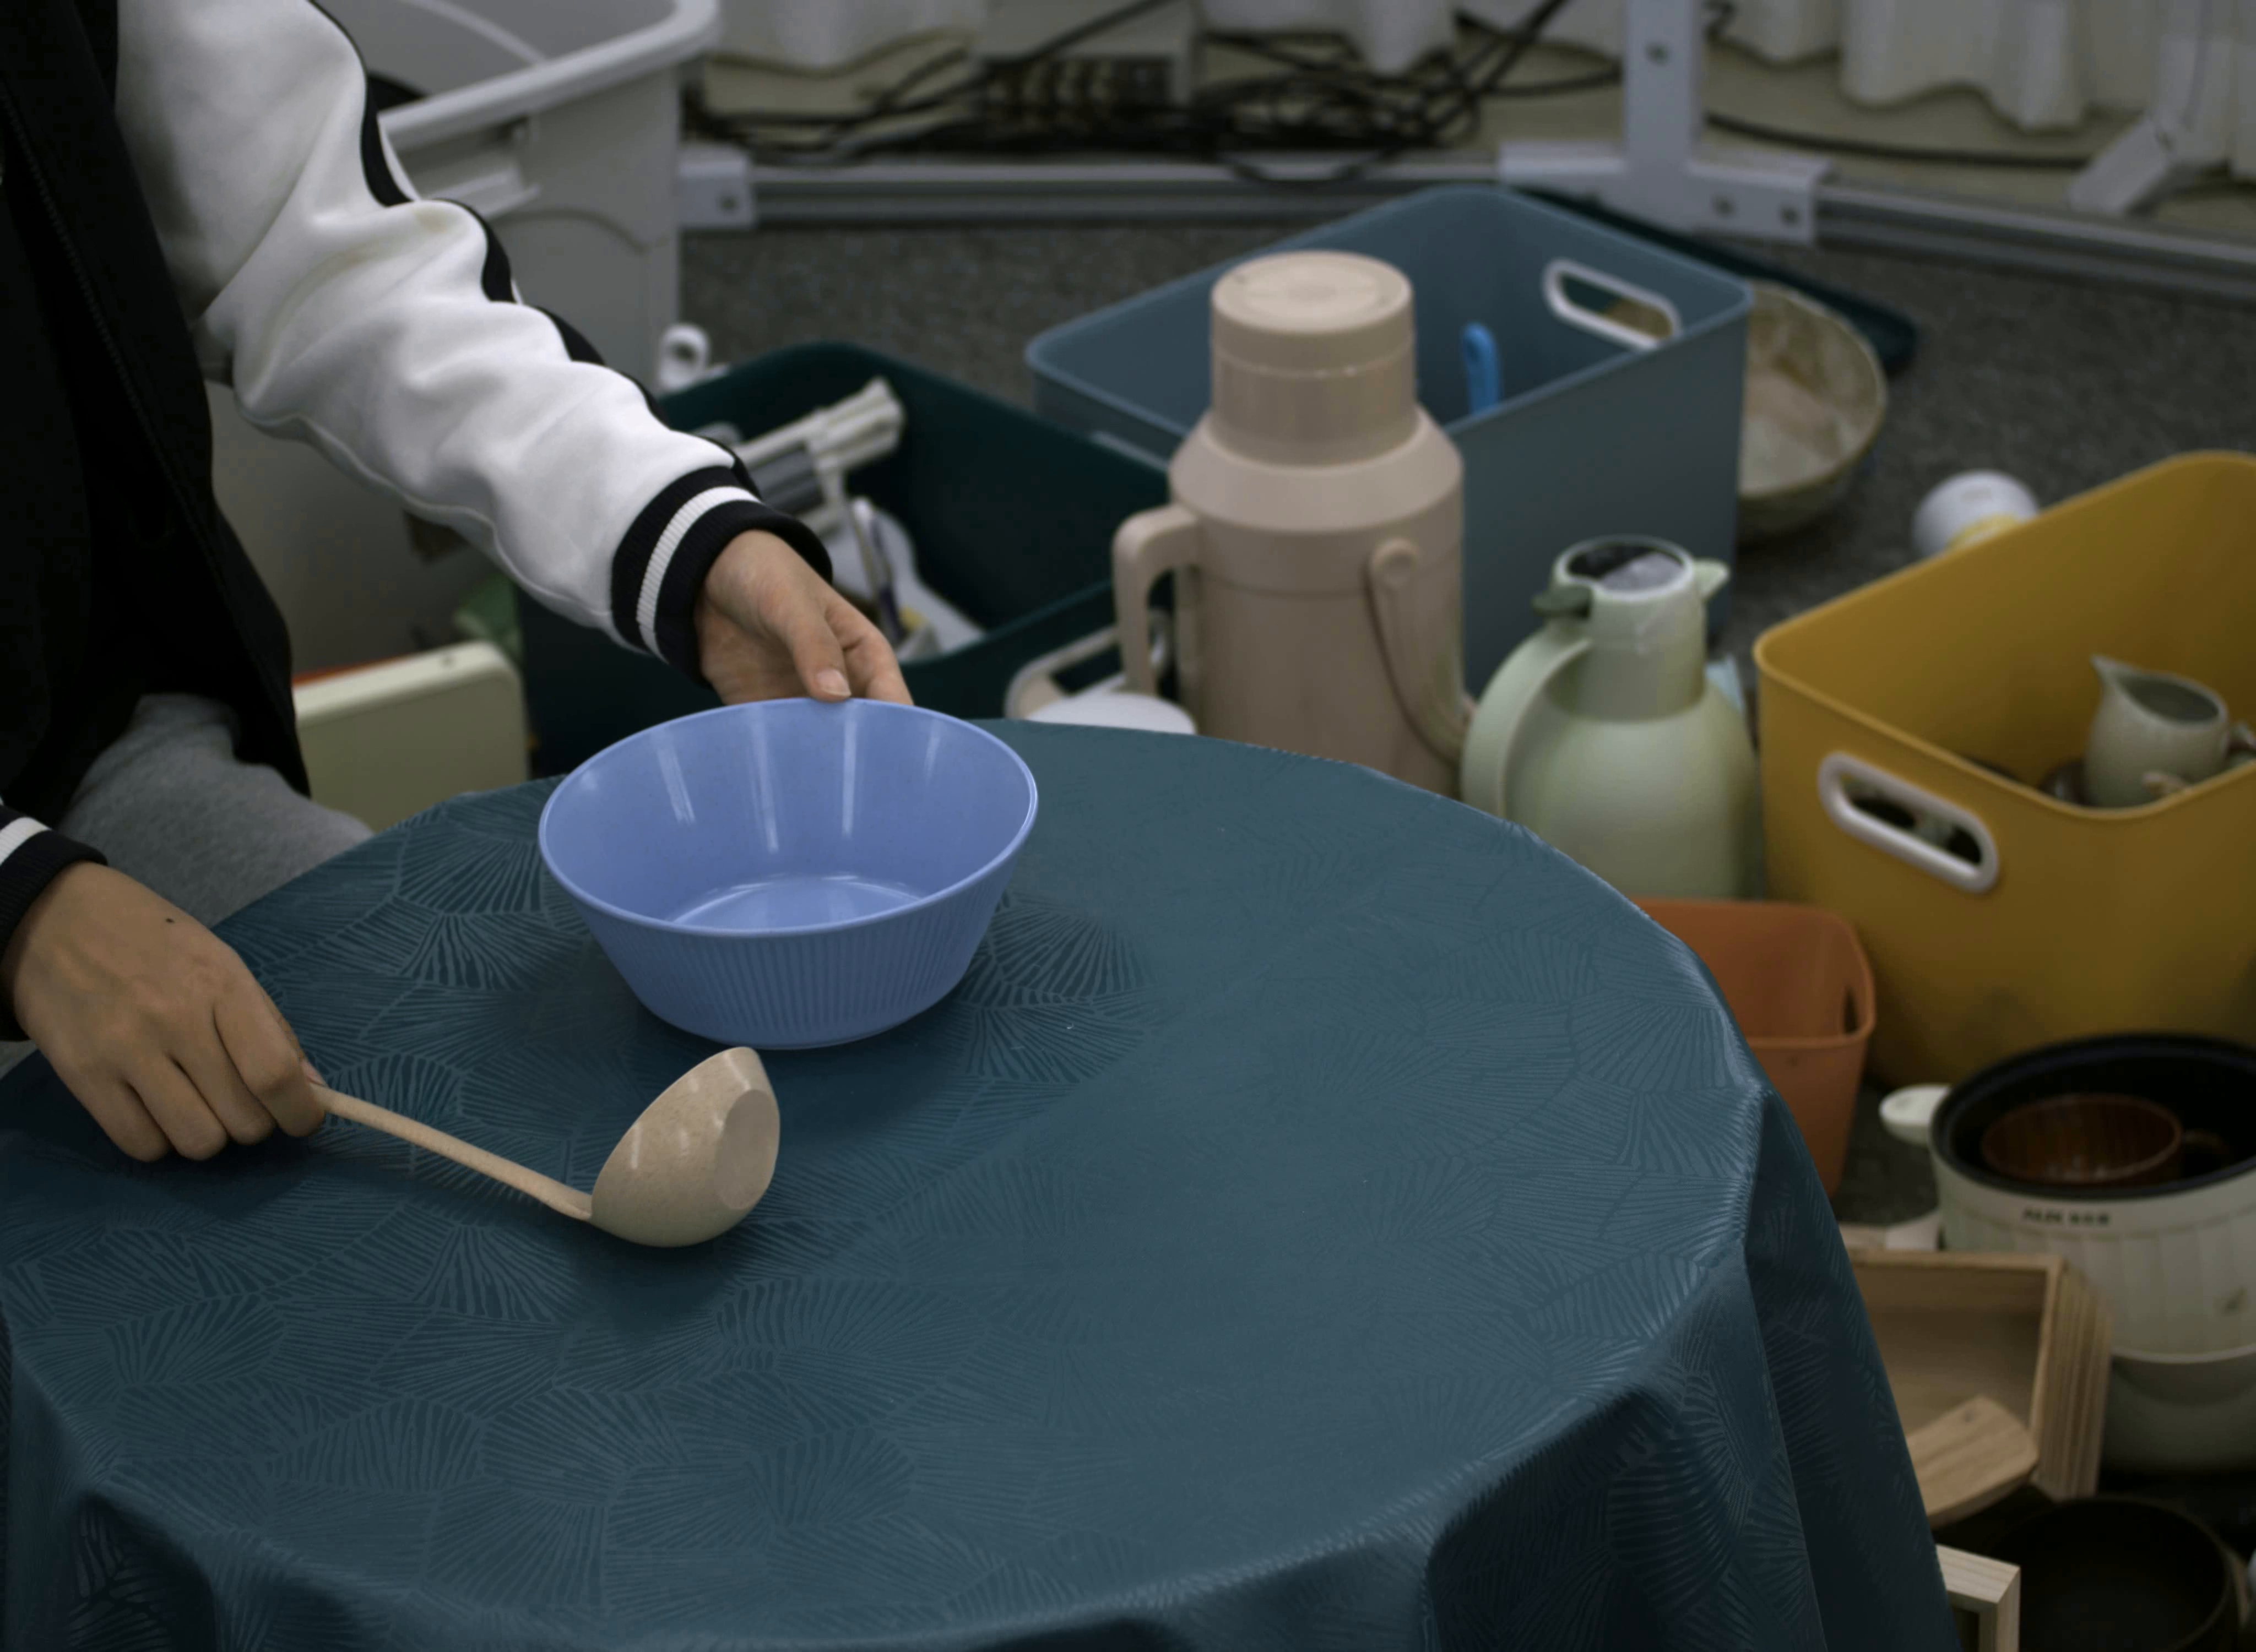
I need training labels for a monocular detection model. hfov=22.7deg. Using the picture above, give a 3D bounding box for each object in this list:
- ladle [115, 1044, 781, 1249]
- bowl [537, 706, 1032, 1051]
[{"bbox_3d":[-0.232,0.081,1.875,0.253,0.072,0.072,14,12,26],"label":"ladle"},{"bbox_3d":[-0.119,0.024,1.986,0.175,0.069,0.179,-2,27,1],"label":"bowl"}]
